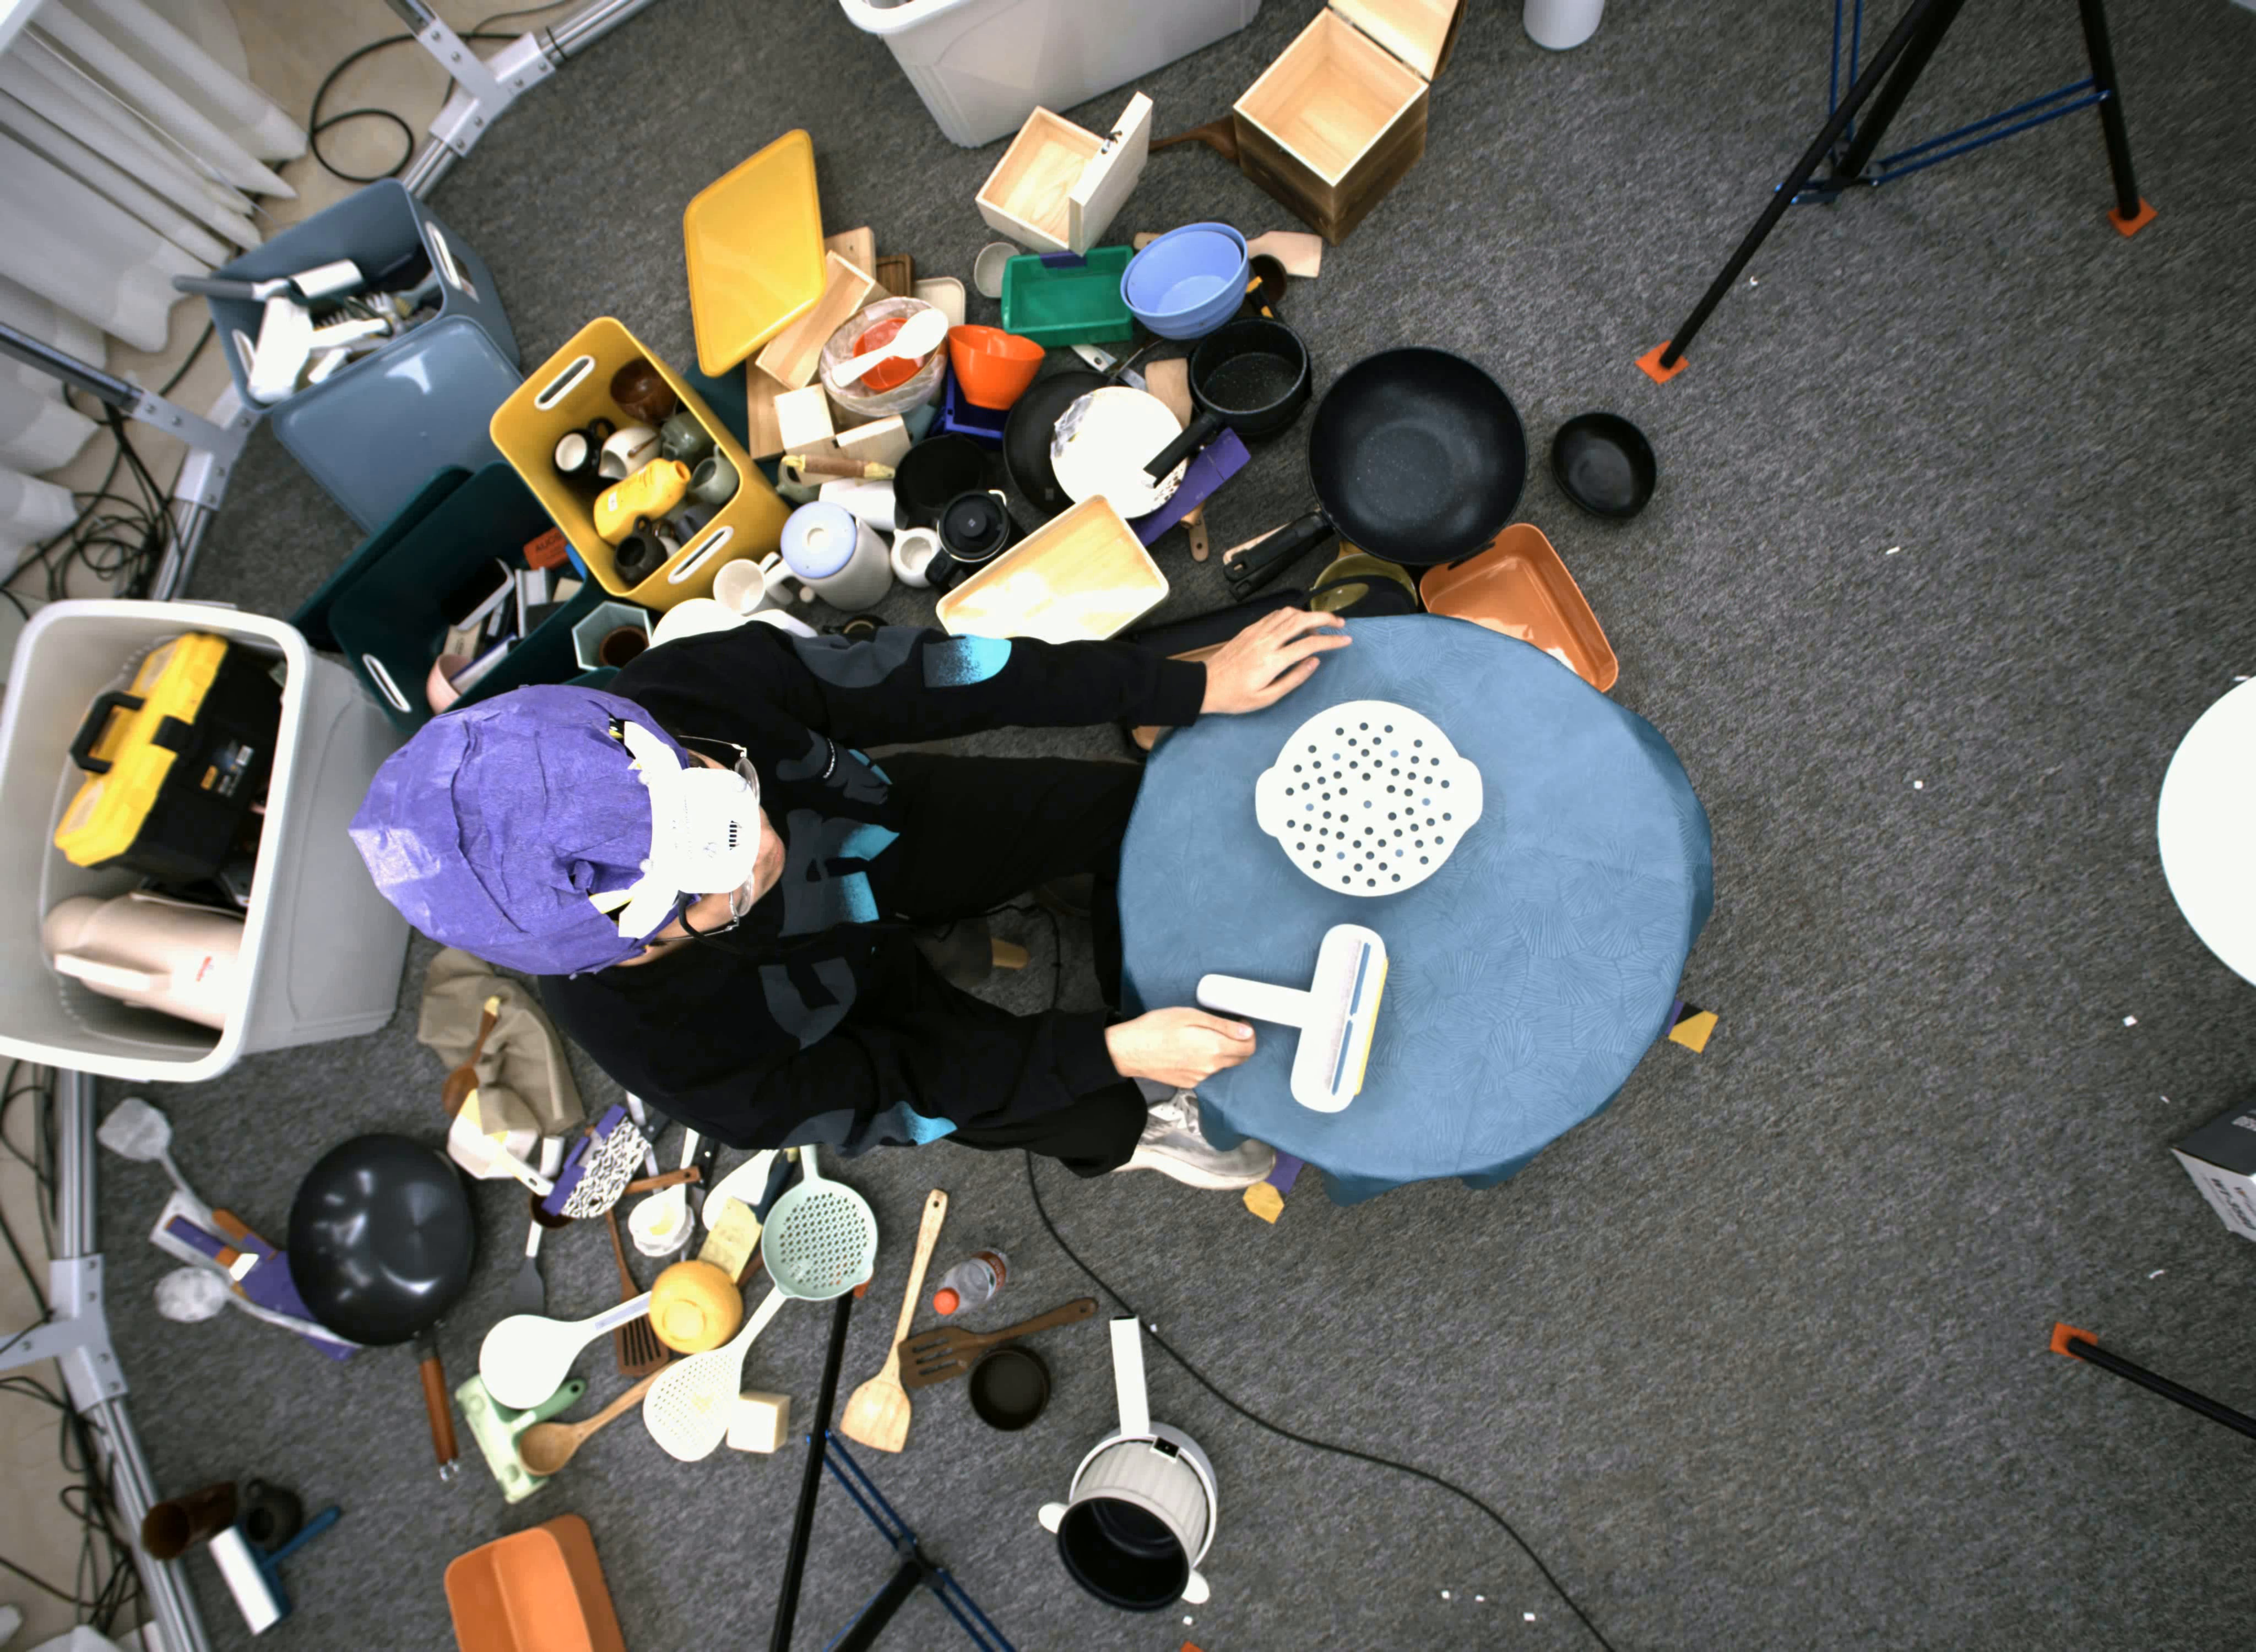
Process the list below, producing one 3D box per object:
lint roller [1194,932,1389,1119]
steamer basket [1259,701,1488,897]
[{"bbox_3d":[0.159,0.188,1.436,0.192,0.074,0.191,16,84,12],"label":"lint roller"},{"bbox_3d":[0.254,-0.027,1.432,0.232,0.069,0.201,-3,85,13],"label":"steamer basket"}]
